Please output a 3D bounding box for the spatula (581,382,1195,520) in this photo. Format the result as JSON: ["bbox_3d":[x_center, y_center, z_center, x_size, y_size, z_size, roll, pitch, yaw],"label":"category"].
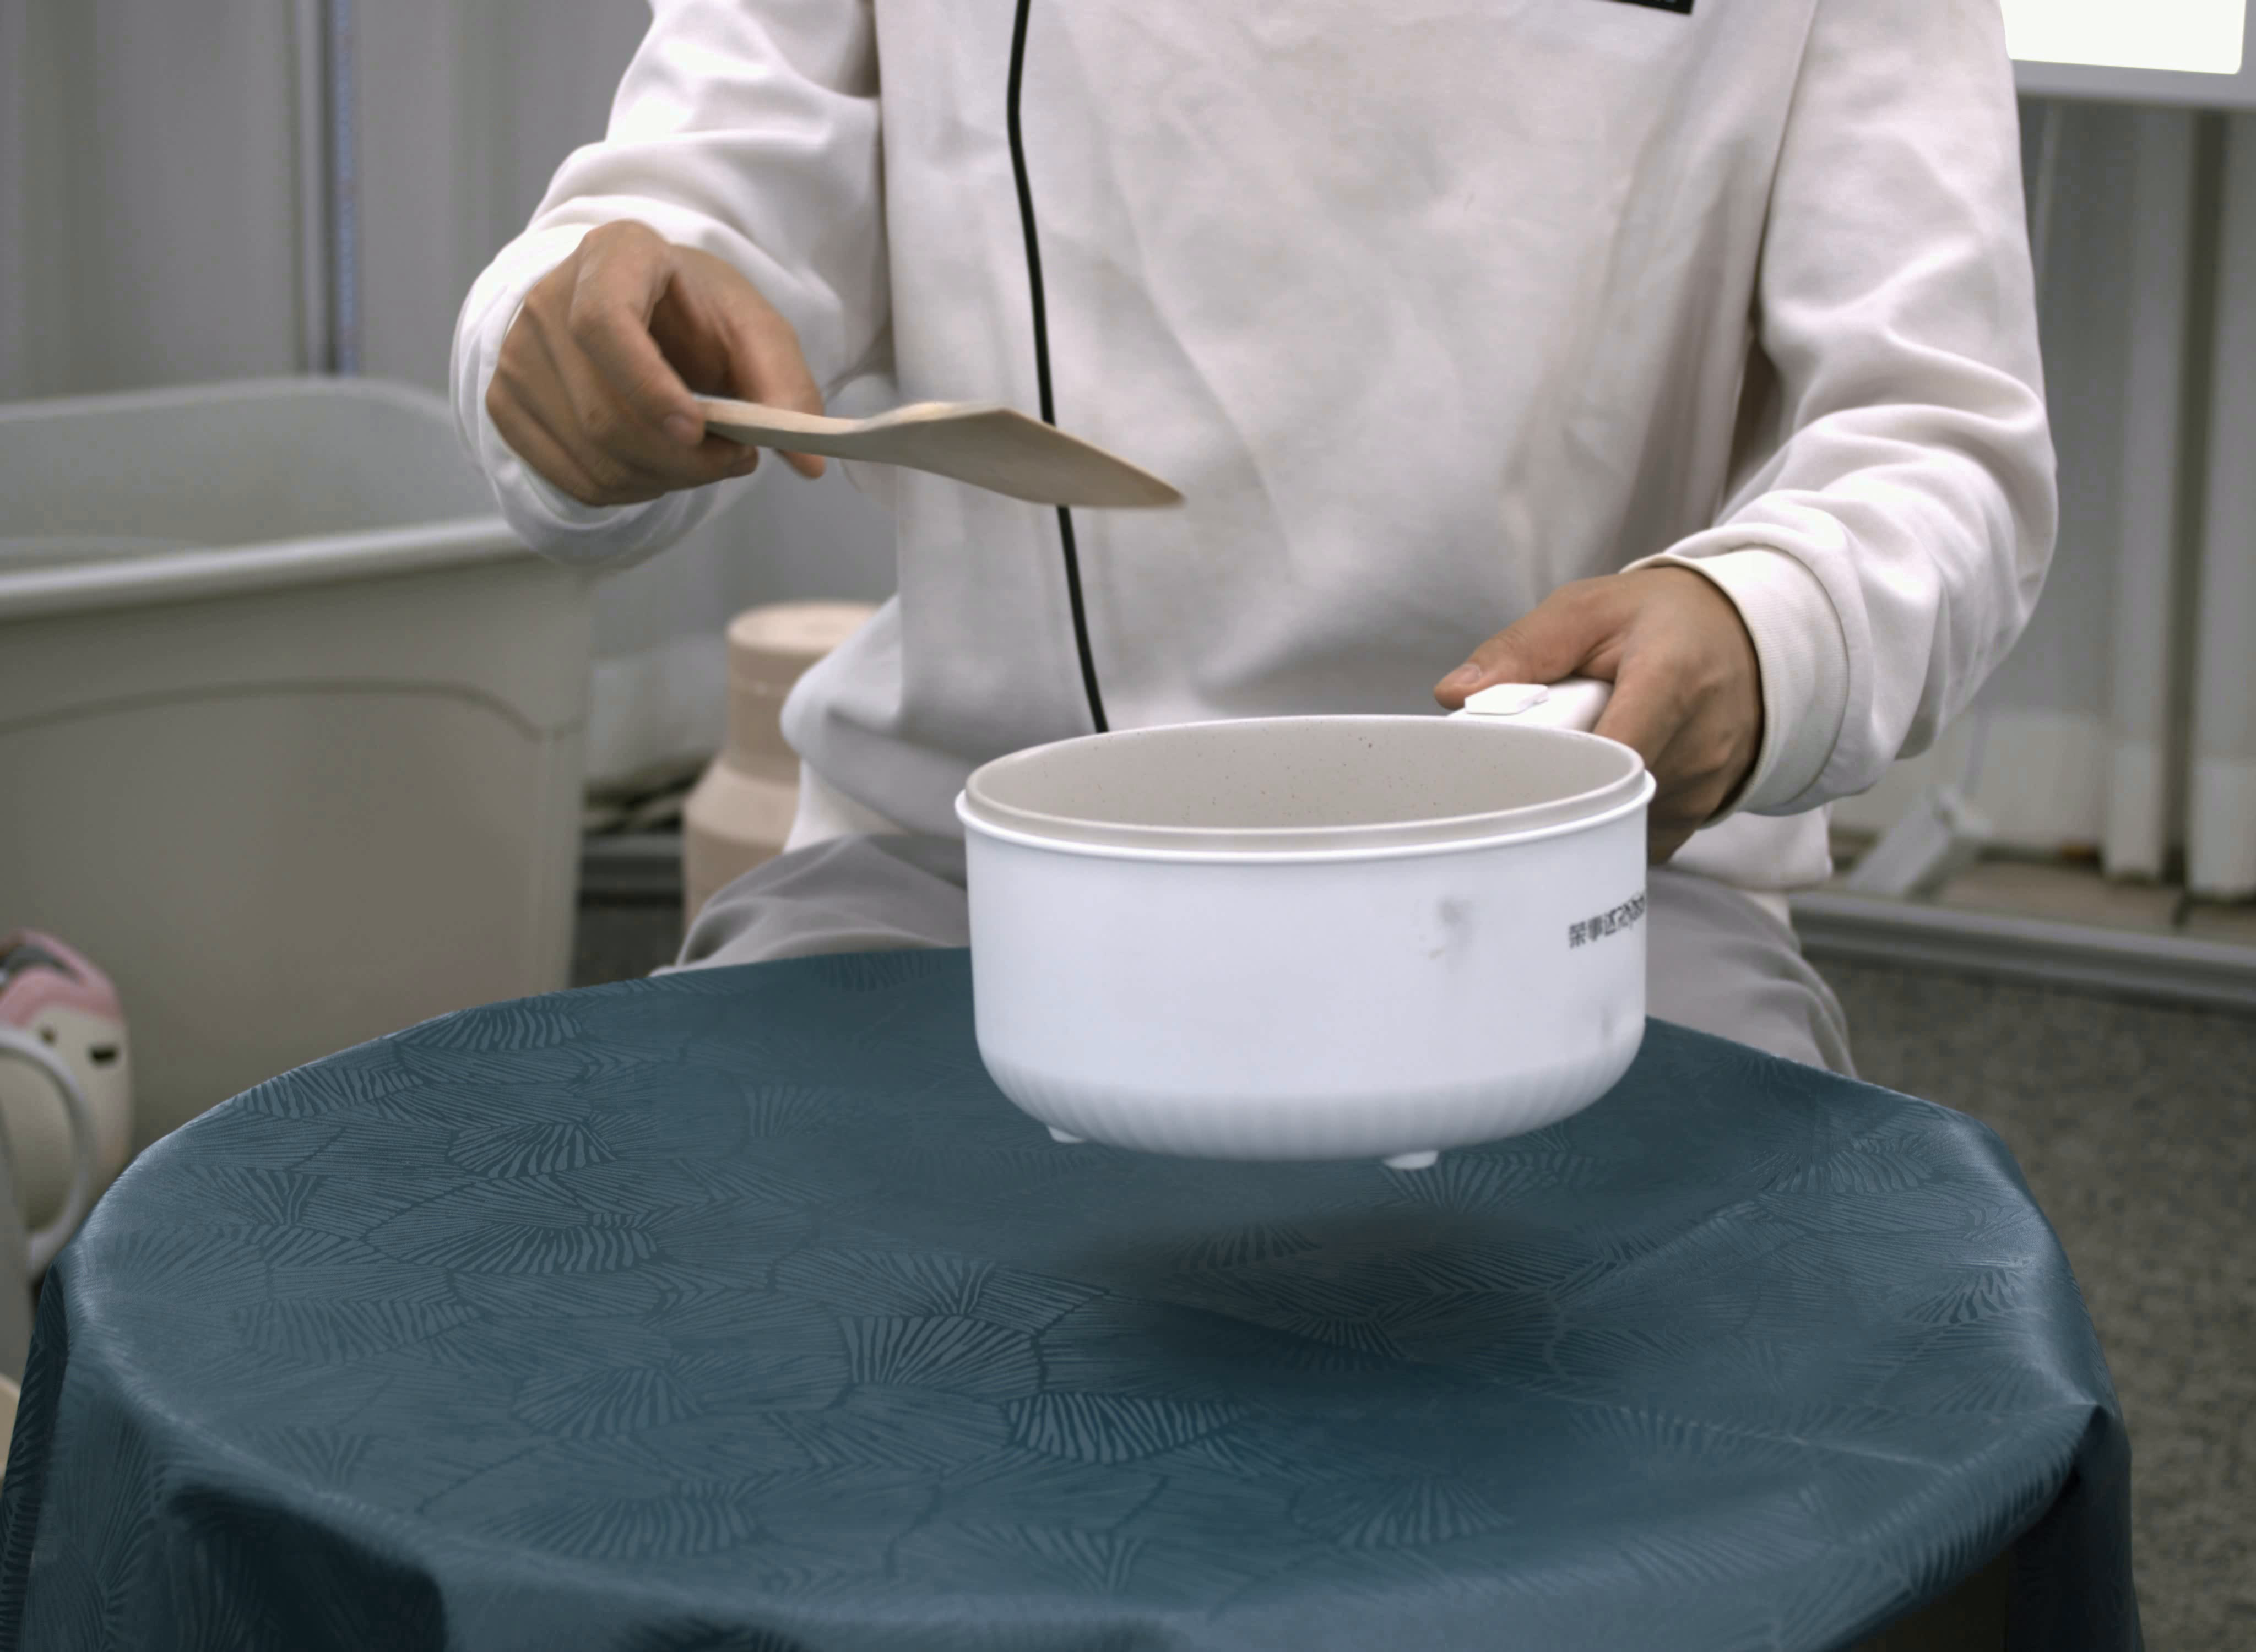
[{"bbox_3d":[-0.088,-0.117,1.577,0.073,0.010,0.289,23,-6,-35],"label":"spatula"}]

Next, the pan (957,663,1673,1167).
[{"bbox_3d":[0.085,0.021,1.586,0.199,0.103,0.356,2,10,25],"label":"pan"}]
